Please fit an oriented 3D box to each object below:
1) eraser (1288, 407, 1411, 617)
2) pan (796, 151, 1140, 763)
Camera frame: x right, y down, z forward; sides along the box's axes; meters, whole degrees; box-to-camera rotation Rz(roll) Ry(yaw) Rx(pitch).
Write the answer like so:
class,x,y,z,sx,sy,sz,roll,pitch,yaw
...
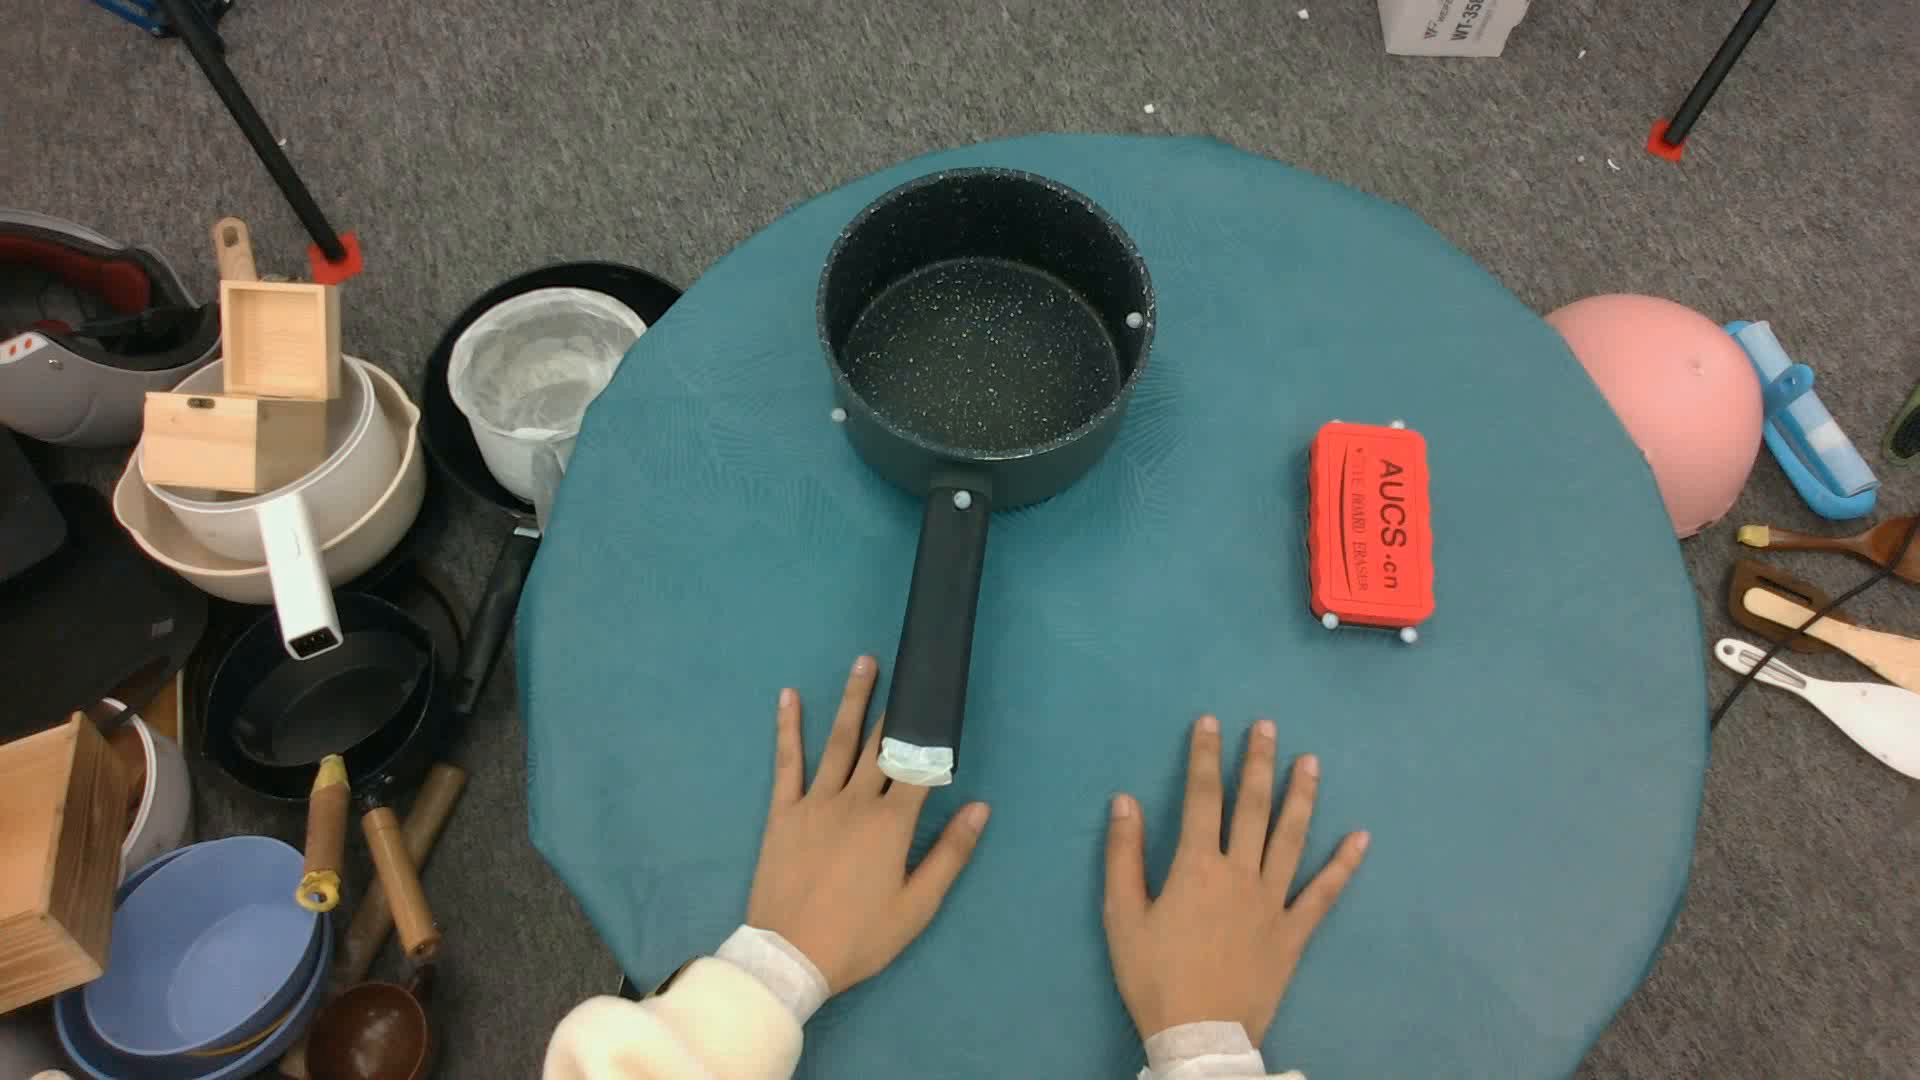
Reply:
class,x,y,z,sx,sy,sz,roll,pitch,yaw
eraser,0.202,-0.015,0.717,0.059,0.023,0.108,7,66,0
pan,-0.010,-0.041,0.686,0.172,0.086,0.330,10,65,2
